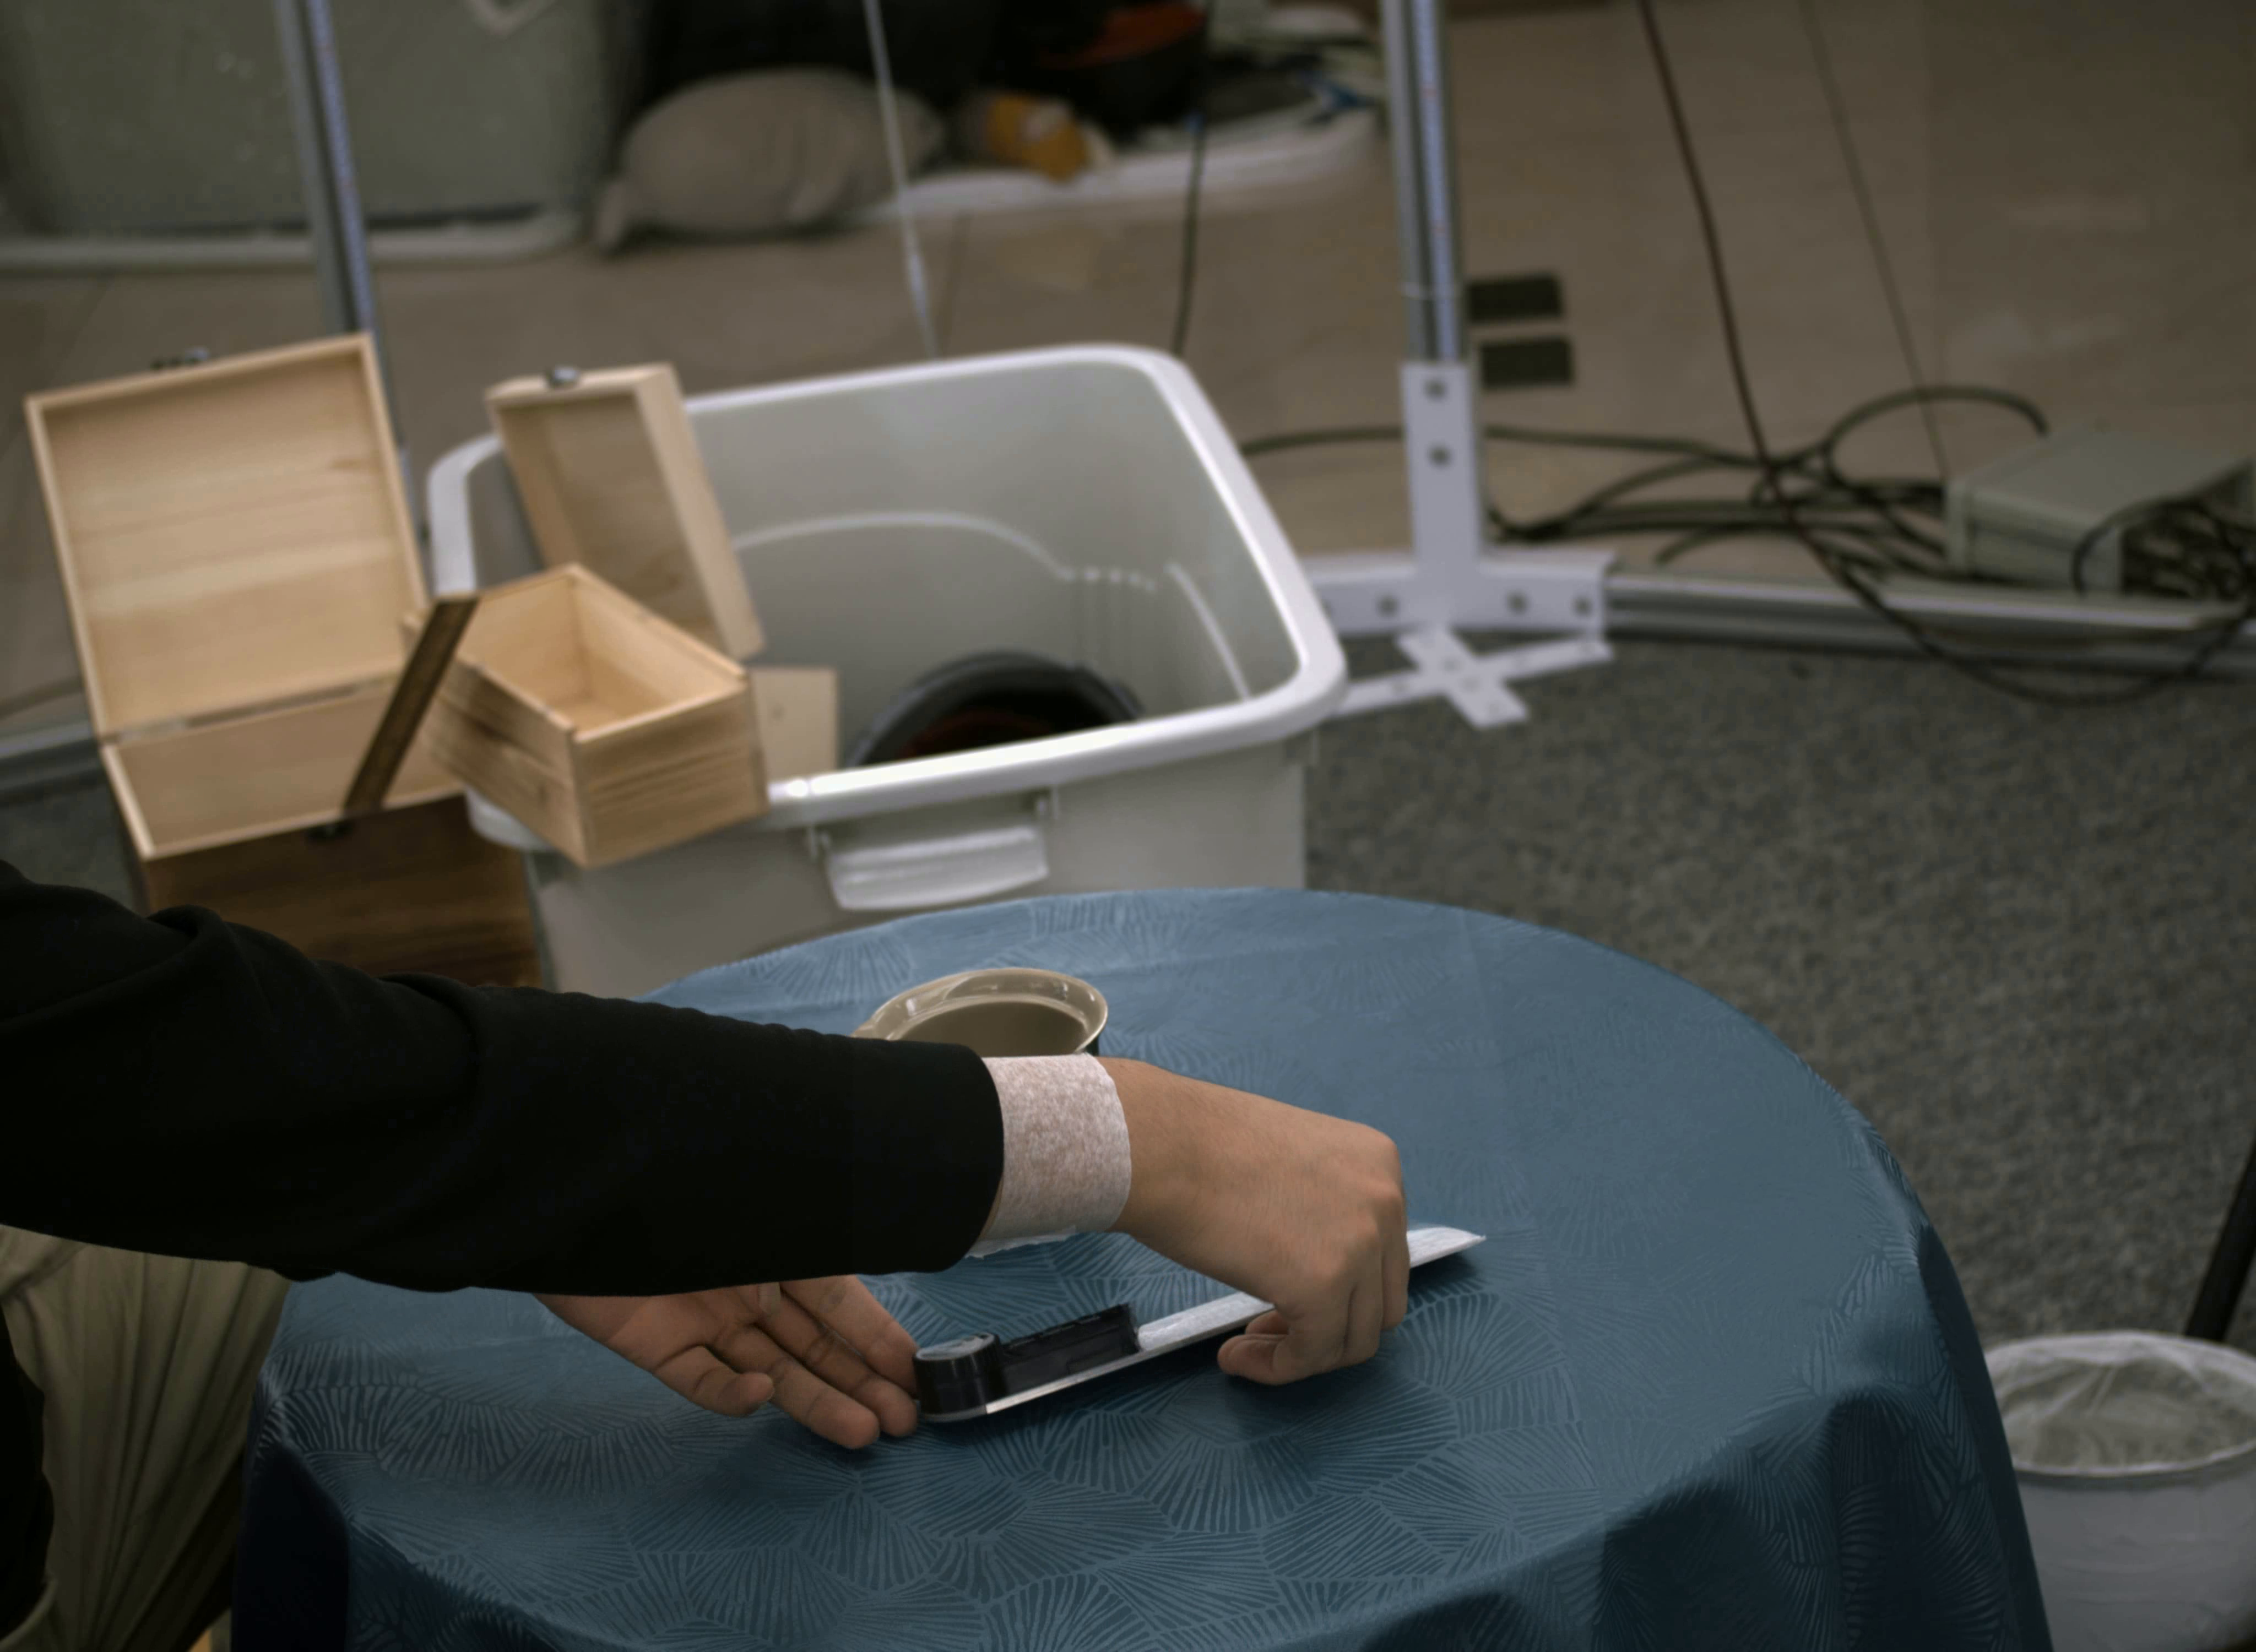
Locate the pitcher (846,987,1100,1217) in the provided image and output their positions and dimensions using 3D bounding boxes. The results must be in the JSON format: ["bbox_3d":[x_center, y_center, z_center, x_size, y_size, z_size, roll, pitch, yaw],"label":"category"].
[{"bbox_3d":[-0.056,0.106,2.145,0.096,0.072,0.082,-7,26,-2],"label":"pitcher"}]

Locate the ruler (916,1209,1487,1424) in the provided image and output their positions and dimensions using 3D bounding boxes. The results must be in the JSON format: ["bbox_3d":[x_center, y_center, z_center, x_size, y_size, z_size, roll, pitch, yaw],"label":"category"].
[{"bbox_3d":[0.025,0.168,2.039,0.217,0.024,0.038,-17,20,-20],"label":"ruler"}]
